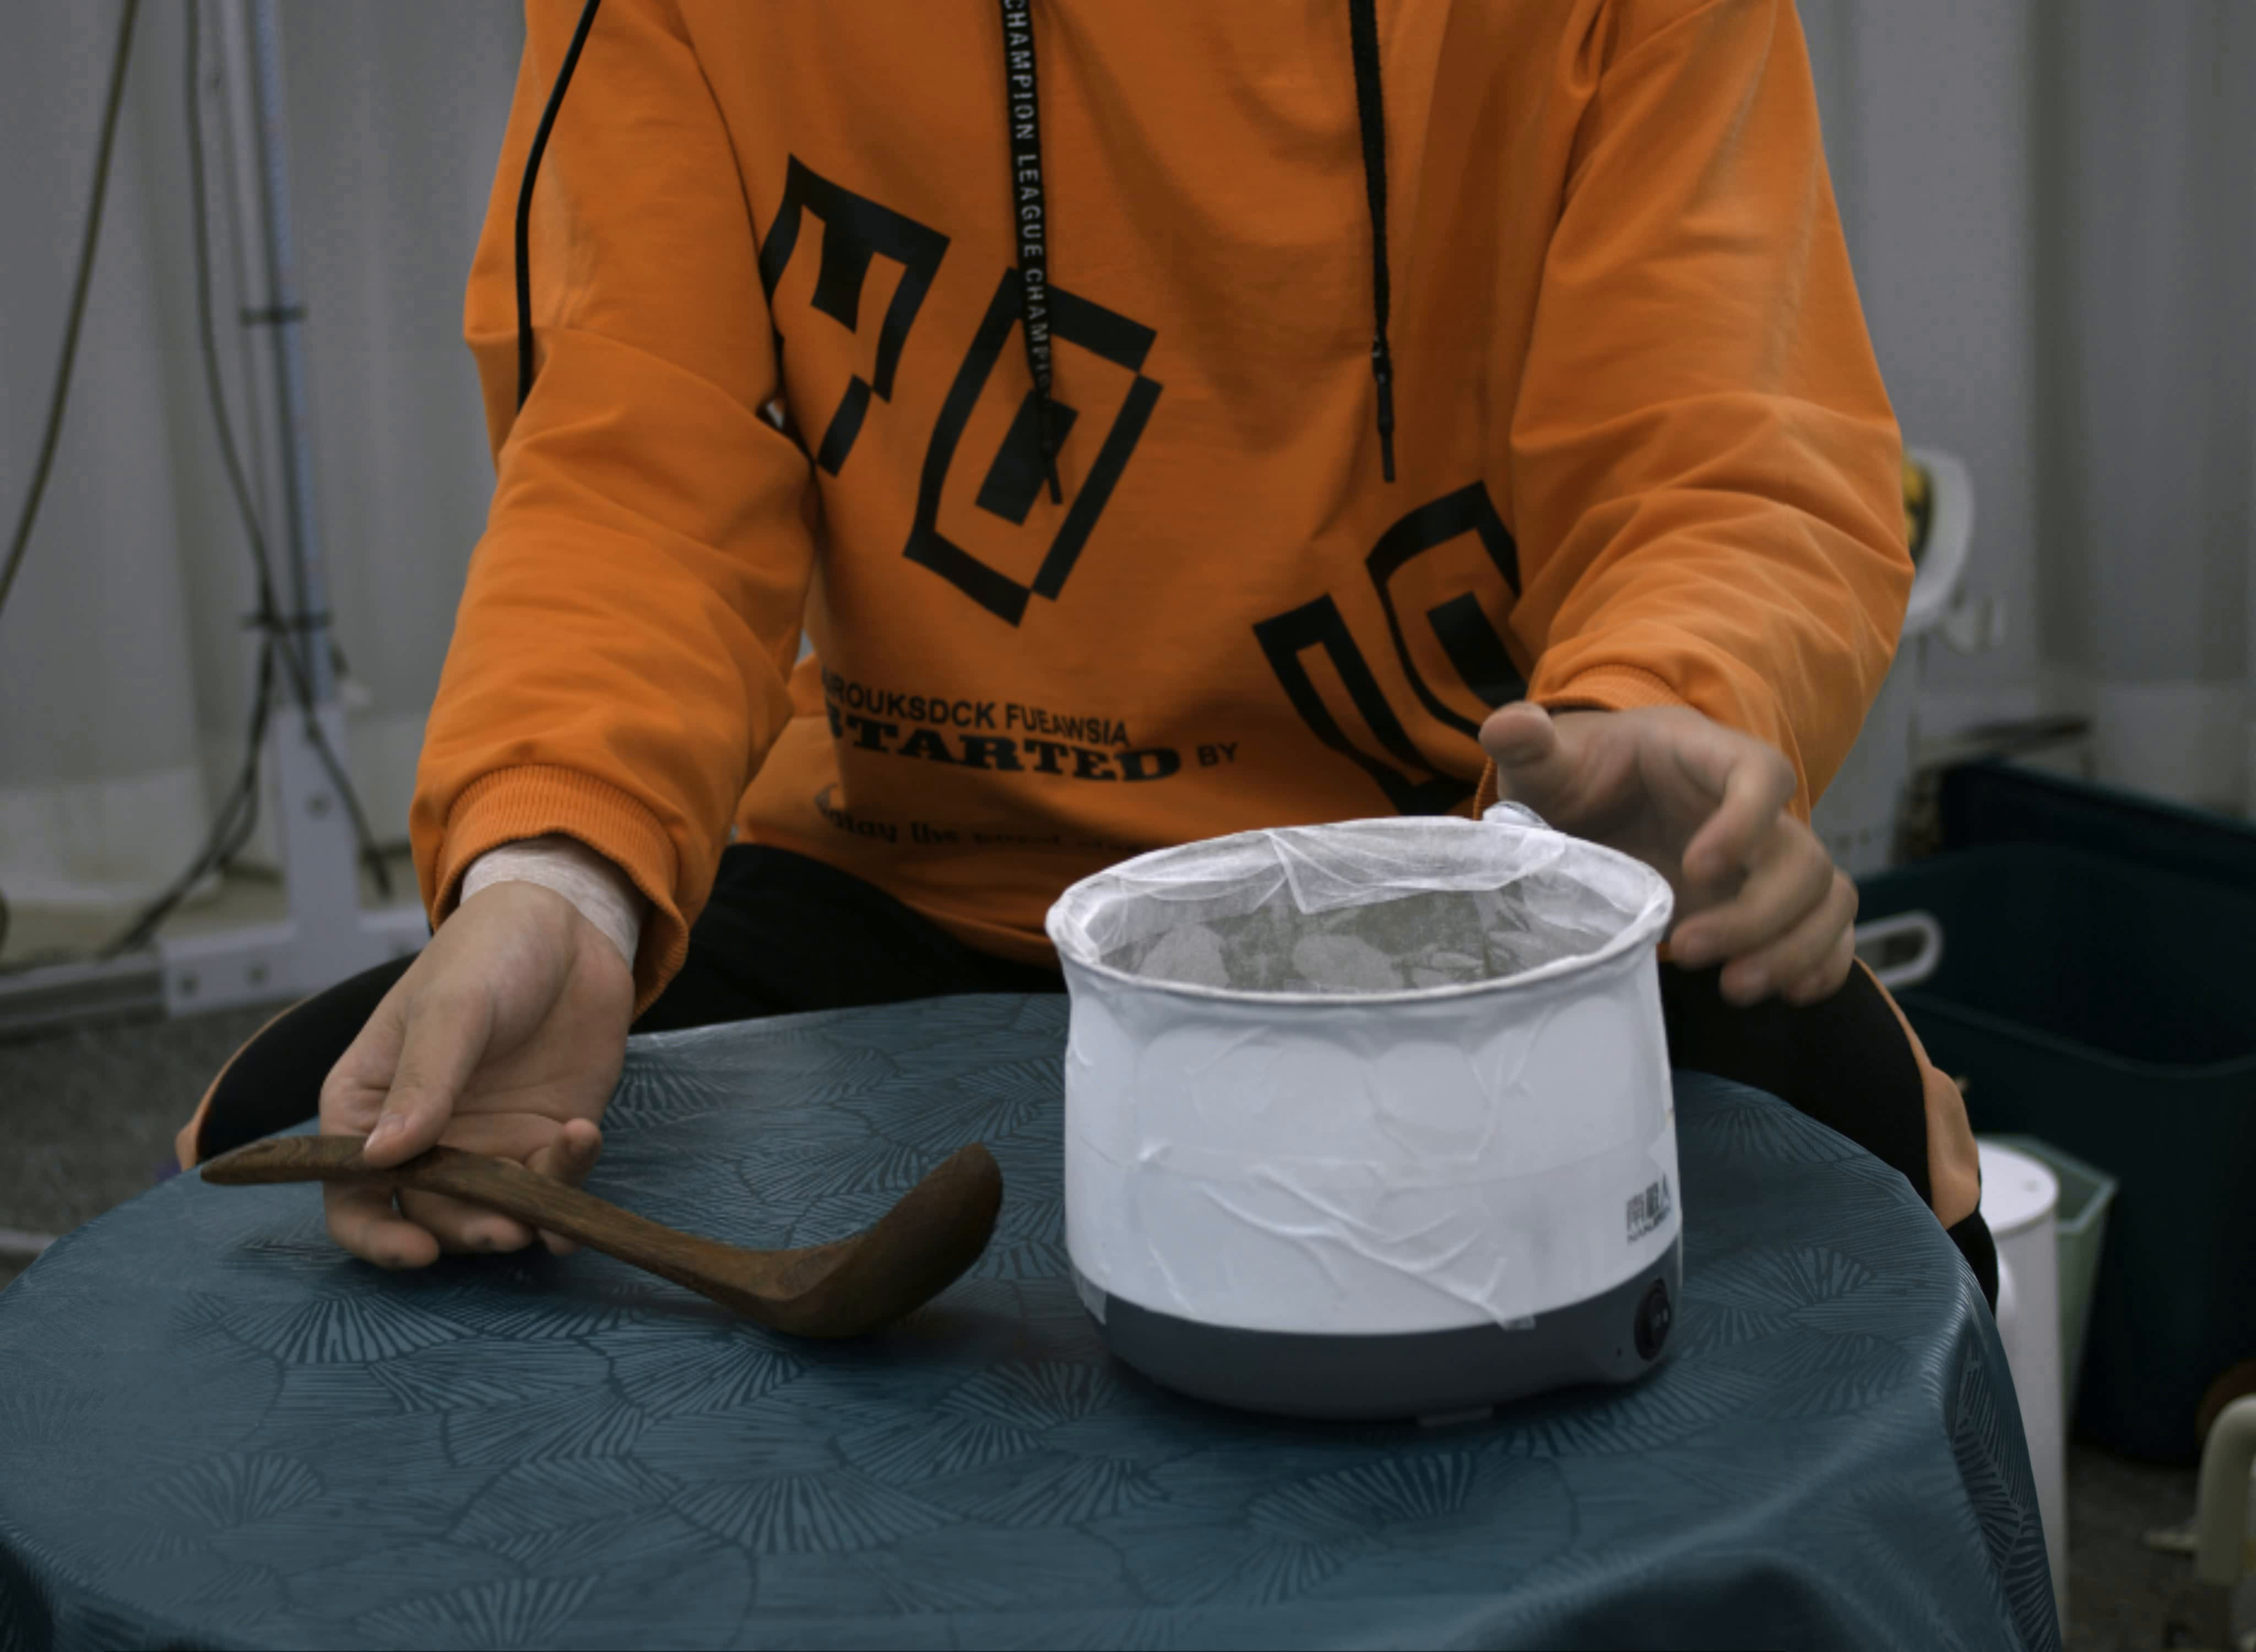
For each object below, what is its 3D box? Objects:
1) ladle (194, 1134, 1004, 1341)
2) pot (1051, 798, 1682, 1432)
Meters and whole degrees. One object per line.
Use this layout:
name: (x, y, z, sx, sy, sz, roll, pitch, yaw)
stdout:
ladle: (-0.163, 0.100, 1.637, 0.275, 0.071, 0.076, 13, 18, 26)
pot: (0.081, 0.076, 1.580, 0.179, 0.136, 0.234, 5, 17, 27)
